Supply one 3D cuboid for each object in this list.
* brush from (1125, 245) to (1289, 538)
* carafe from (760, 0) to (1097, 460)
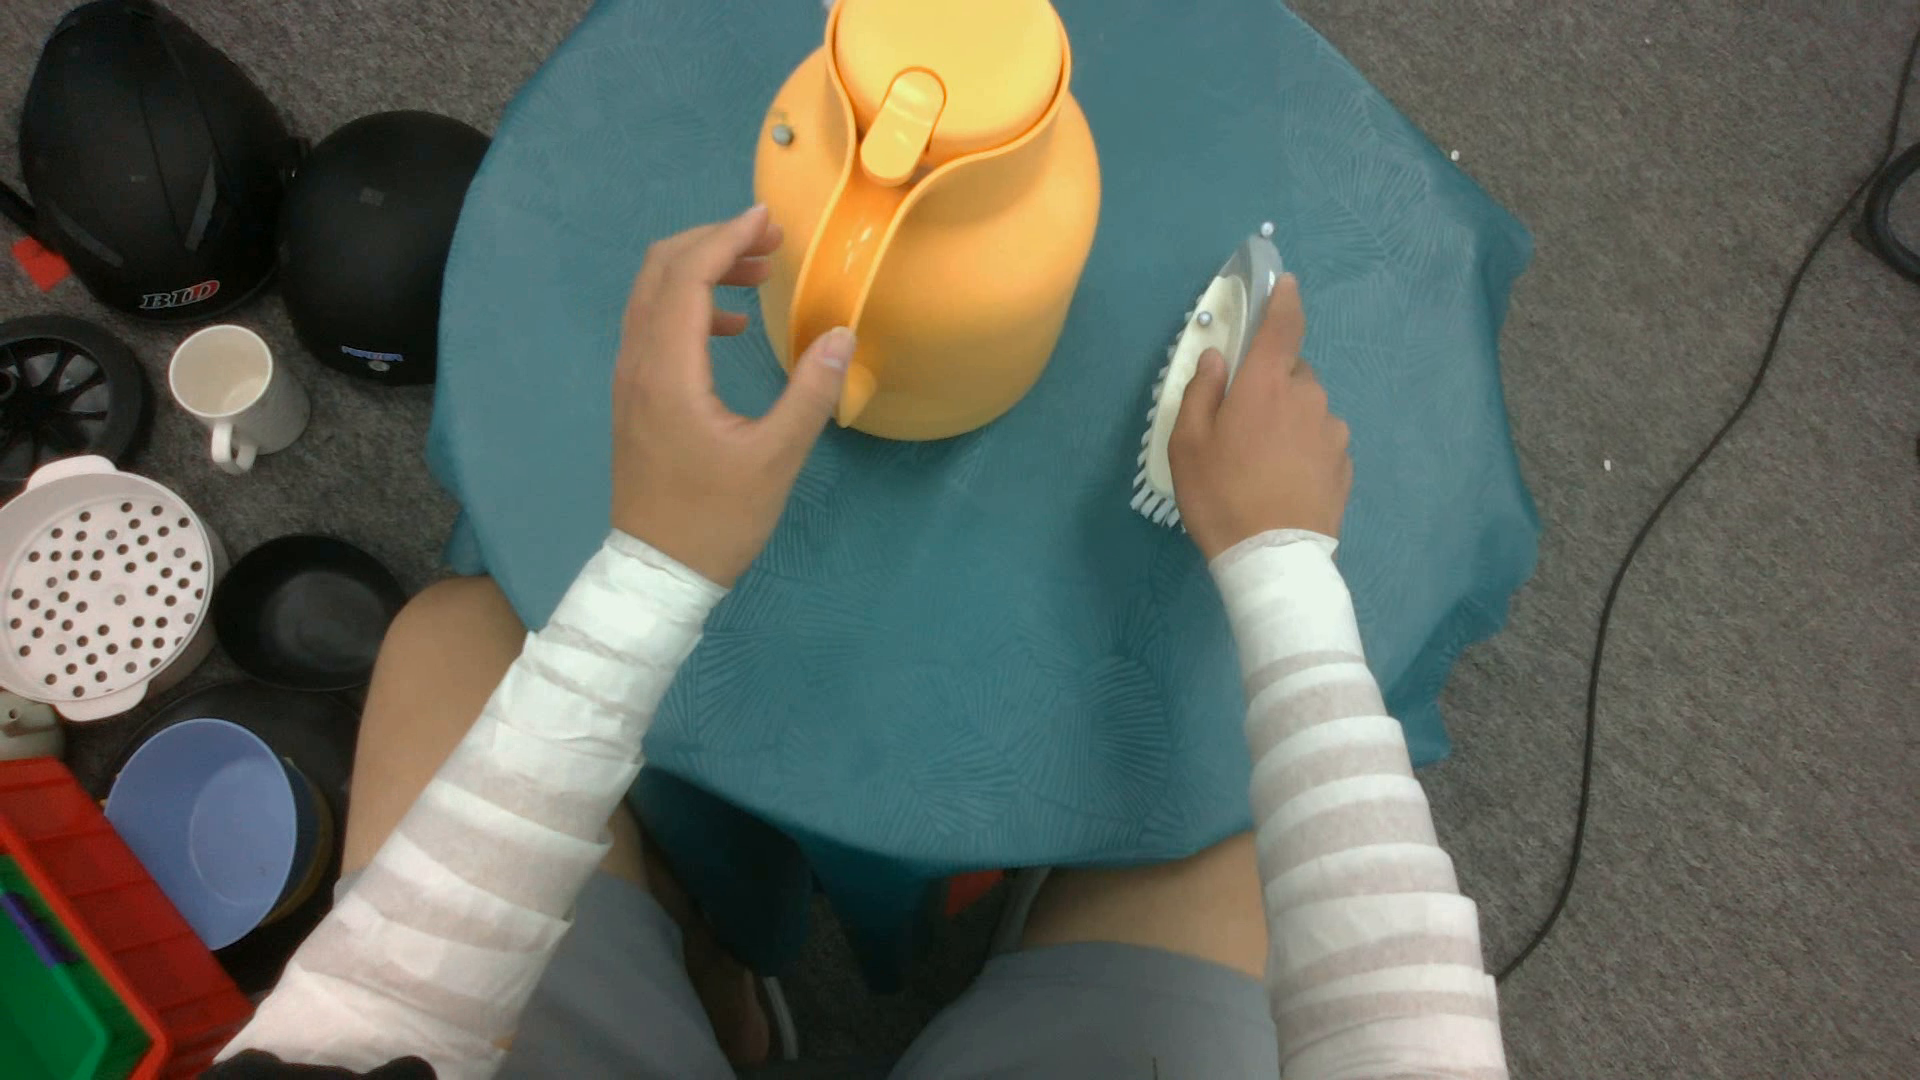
[{"bbox_3d":[0.145,-0.095,0.751,0.061,0.094,0.176,22,67,-12],"label":"brush"},{"bbox_3d":[-0.026,-0.136,0.662,0.163,0.259,0.203,26,70,4],"label":"carafe"}]
